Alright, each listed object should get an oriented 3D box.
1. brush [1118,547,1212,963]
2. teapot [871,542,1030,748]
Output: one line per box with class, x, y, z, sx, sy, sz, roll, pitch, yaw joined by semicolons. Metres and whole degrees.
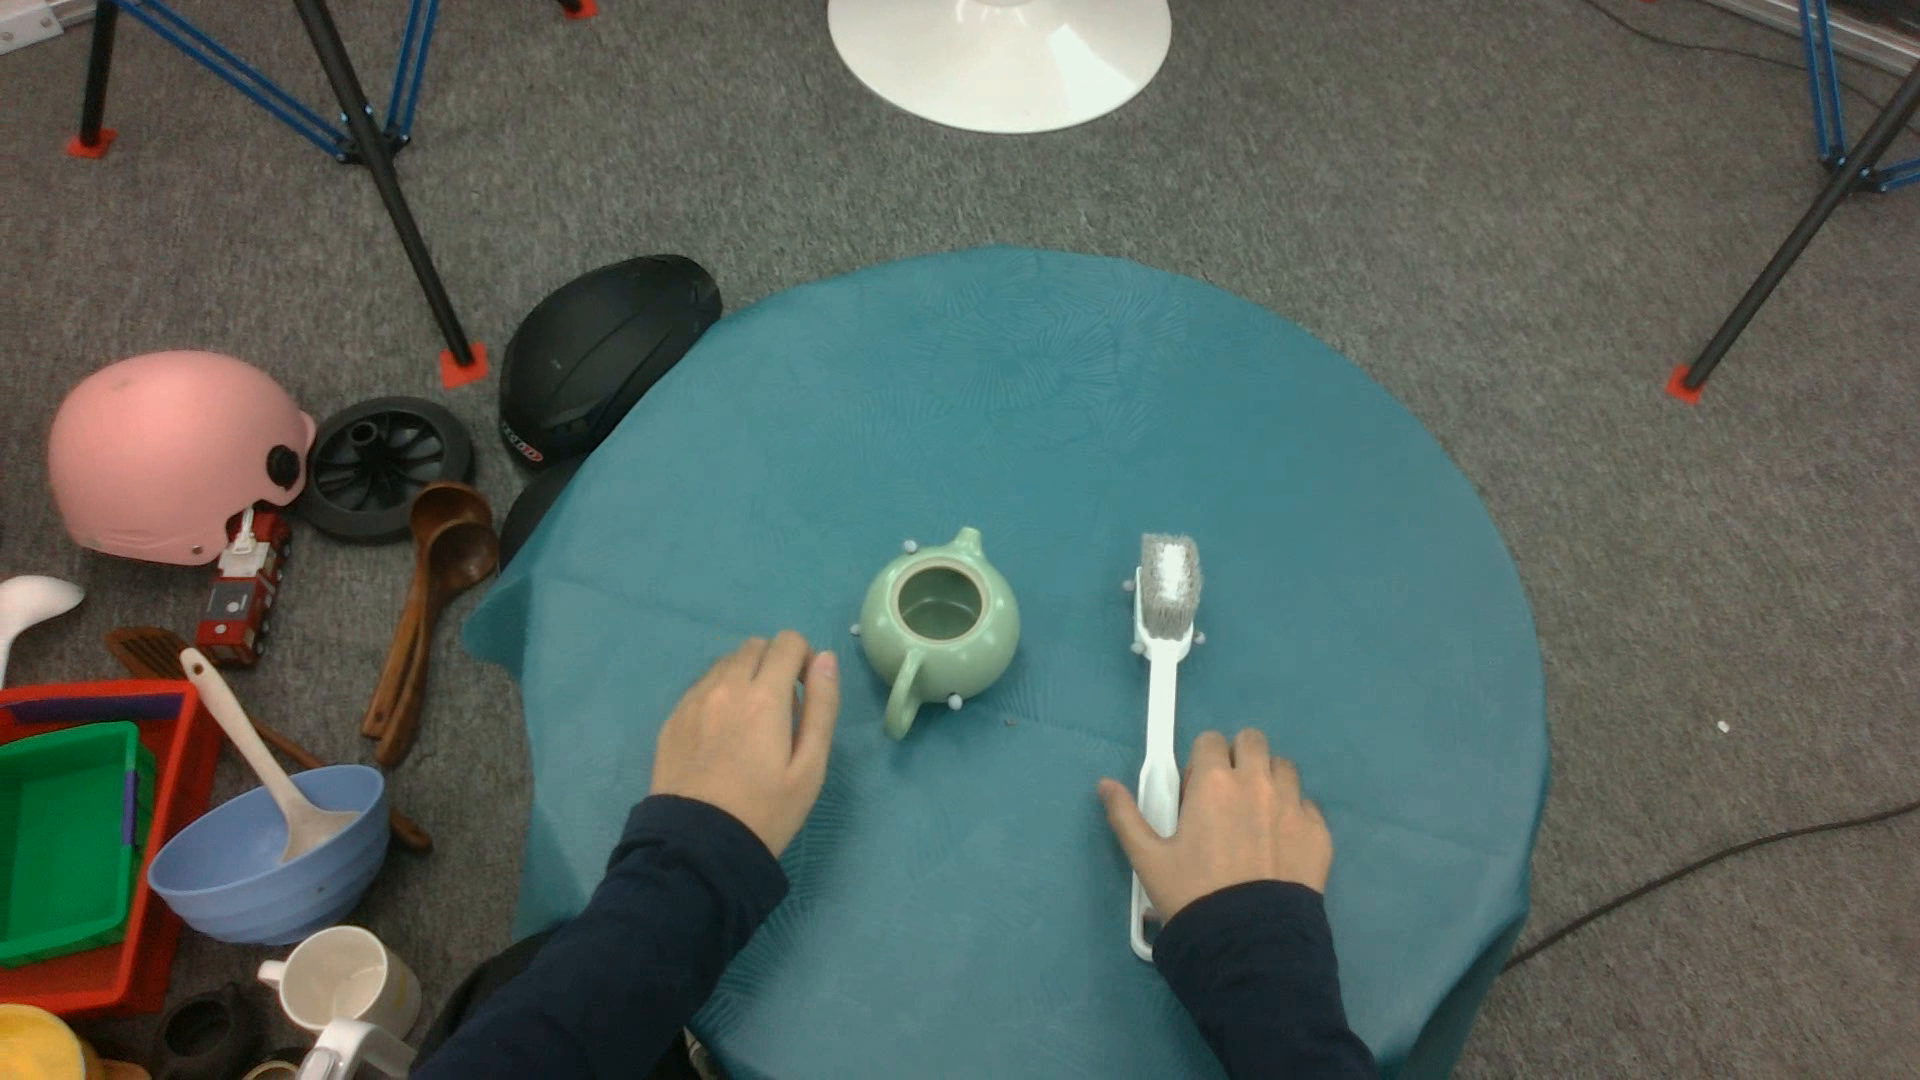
brush;0.114;0.110;0.769;0.034;0.050;0.245;11;57;0
teapot;-0.010;0.063;0.790;0.091;0.060;0.129;26;60;8
